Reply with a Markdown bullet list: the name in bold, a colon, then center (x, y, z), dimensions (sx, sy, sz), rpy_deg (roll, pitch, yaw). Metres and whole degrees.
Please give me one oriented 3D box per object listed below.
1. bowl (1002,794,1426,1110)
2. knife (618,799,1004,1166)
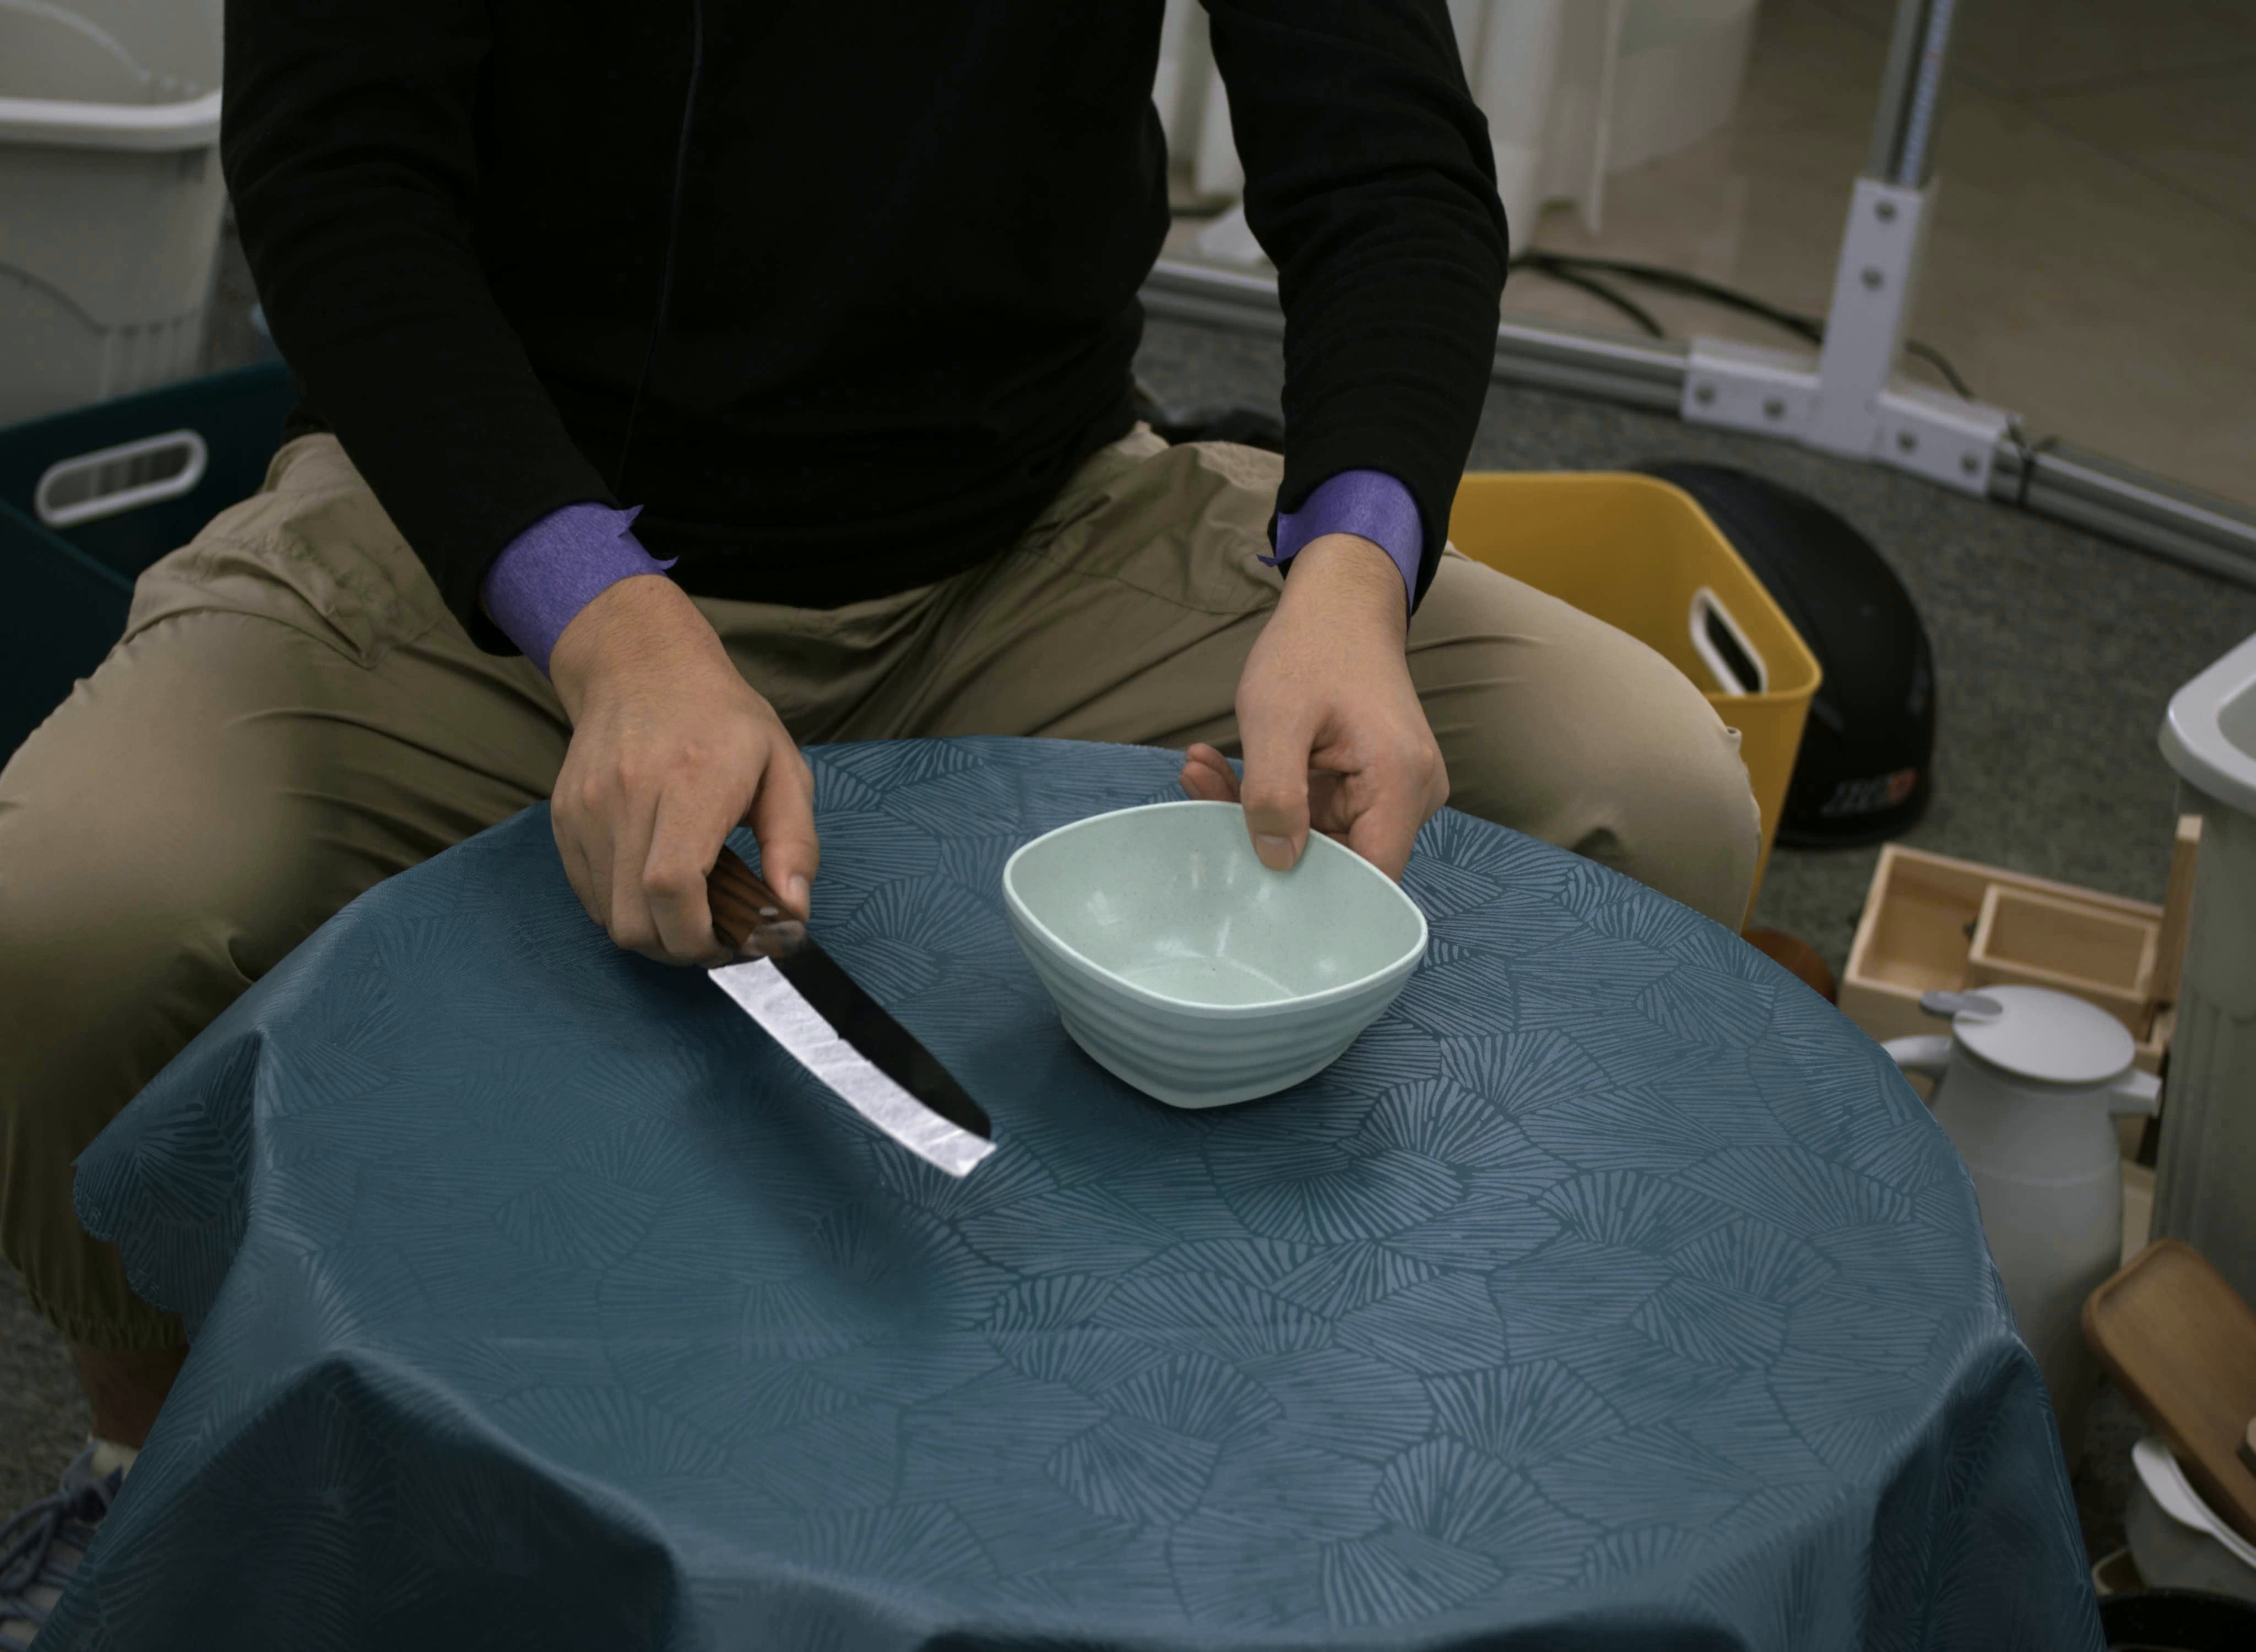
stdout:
- **bowl**: center (0.027, 0.050, 1.883), dimensions (0.151, 0.058, 0.152), rpy_deg (6, 30, -4)
- **knife**: center (-0.112, 0.053, 1.825), dimensions (0.050, 0.020, 0.291), rpy_deg (-11, 27, -24)
